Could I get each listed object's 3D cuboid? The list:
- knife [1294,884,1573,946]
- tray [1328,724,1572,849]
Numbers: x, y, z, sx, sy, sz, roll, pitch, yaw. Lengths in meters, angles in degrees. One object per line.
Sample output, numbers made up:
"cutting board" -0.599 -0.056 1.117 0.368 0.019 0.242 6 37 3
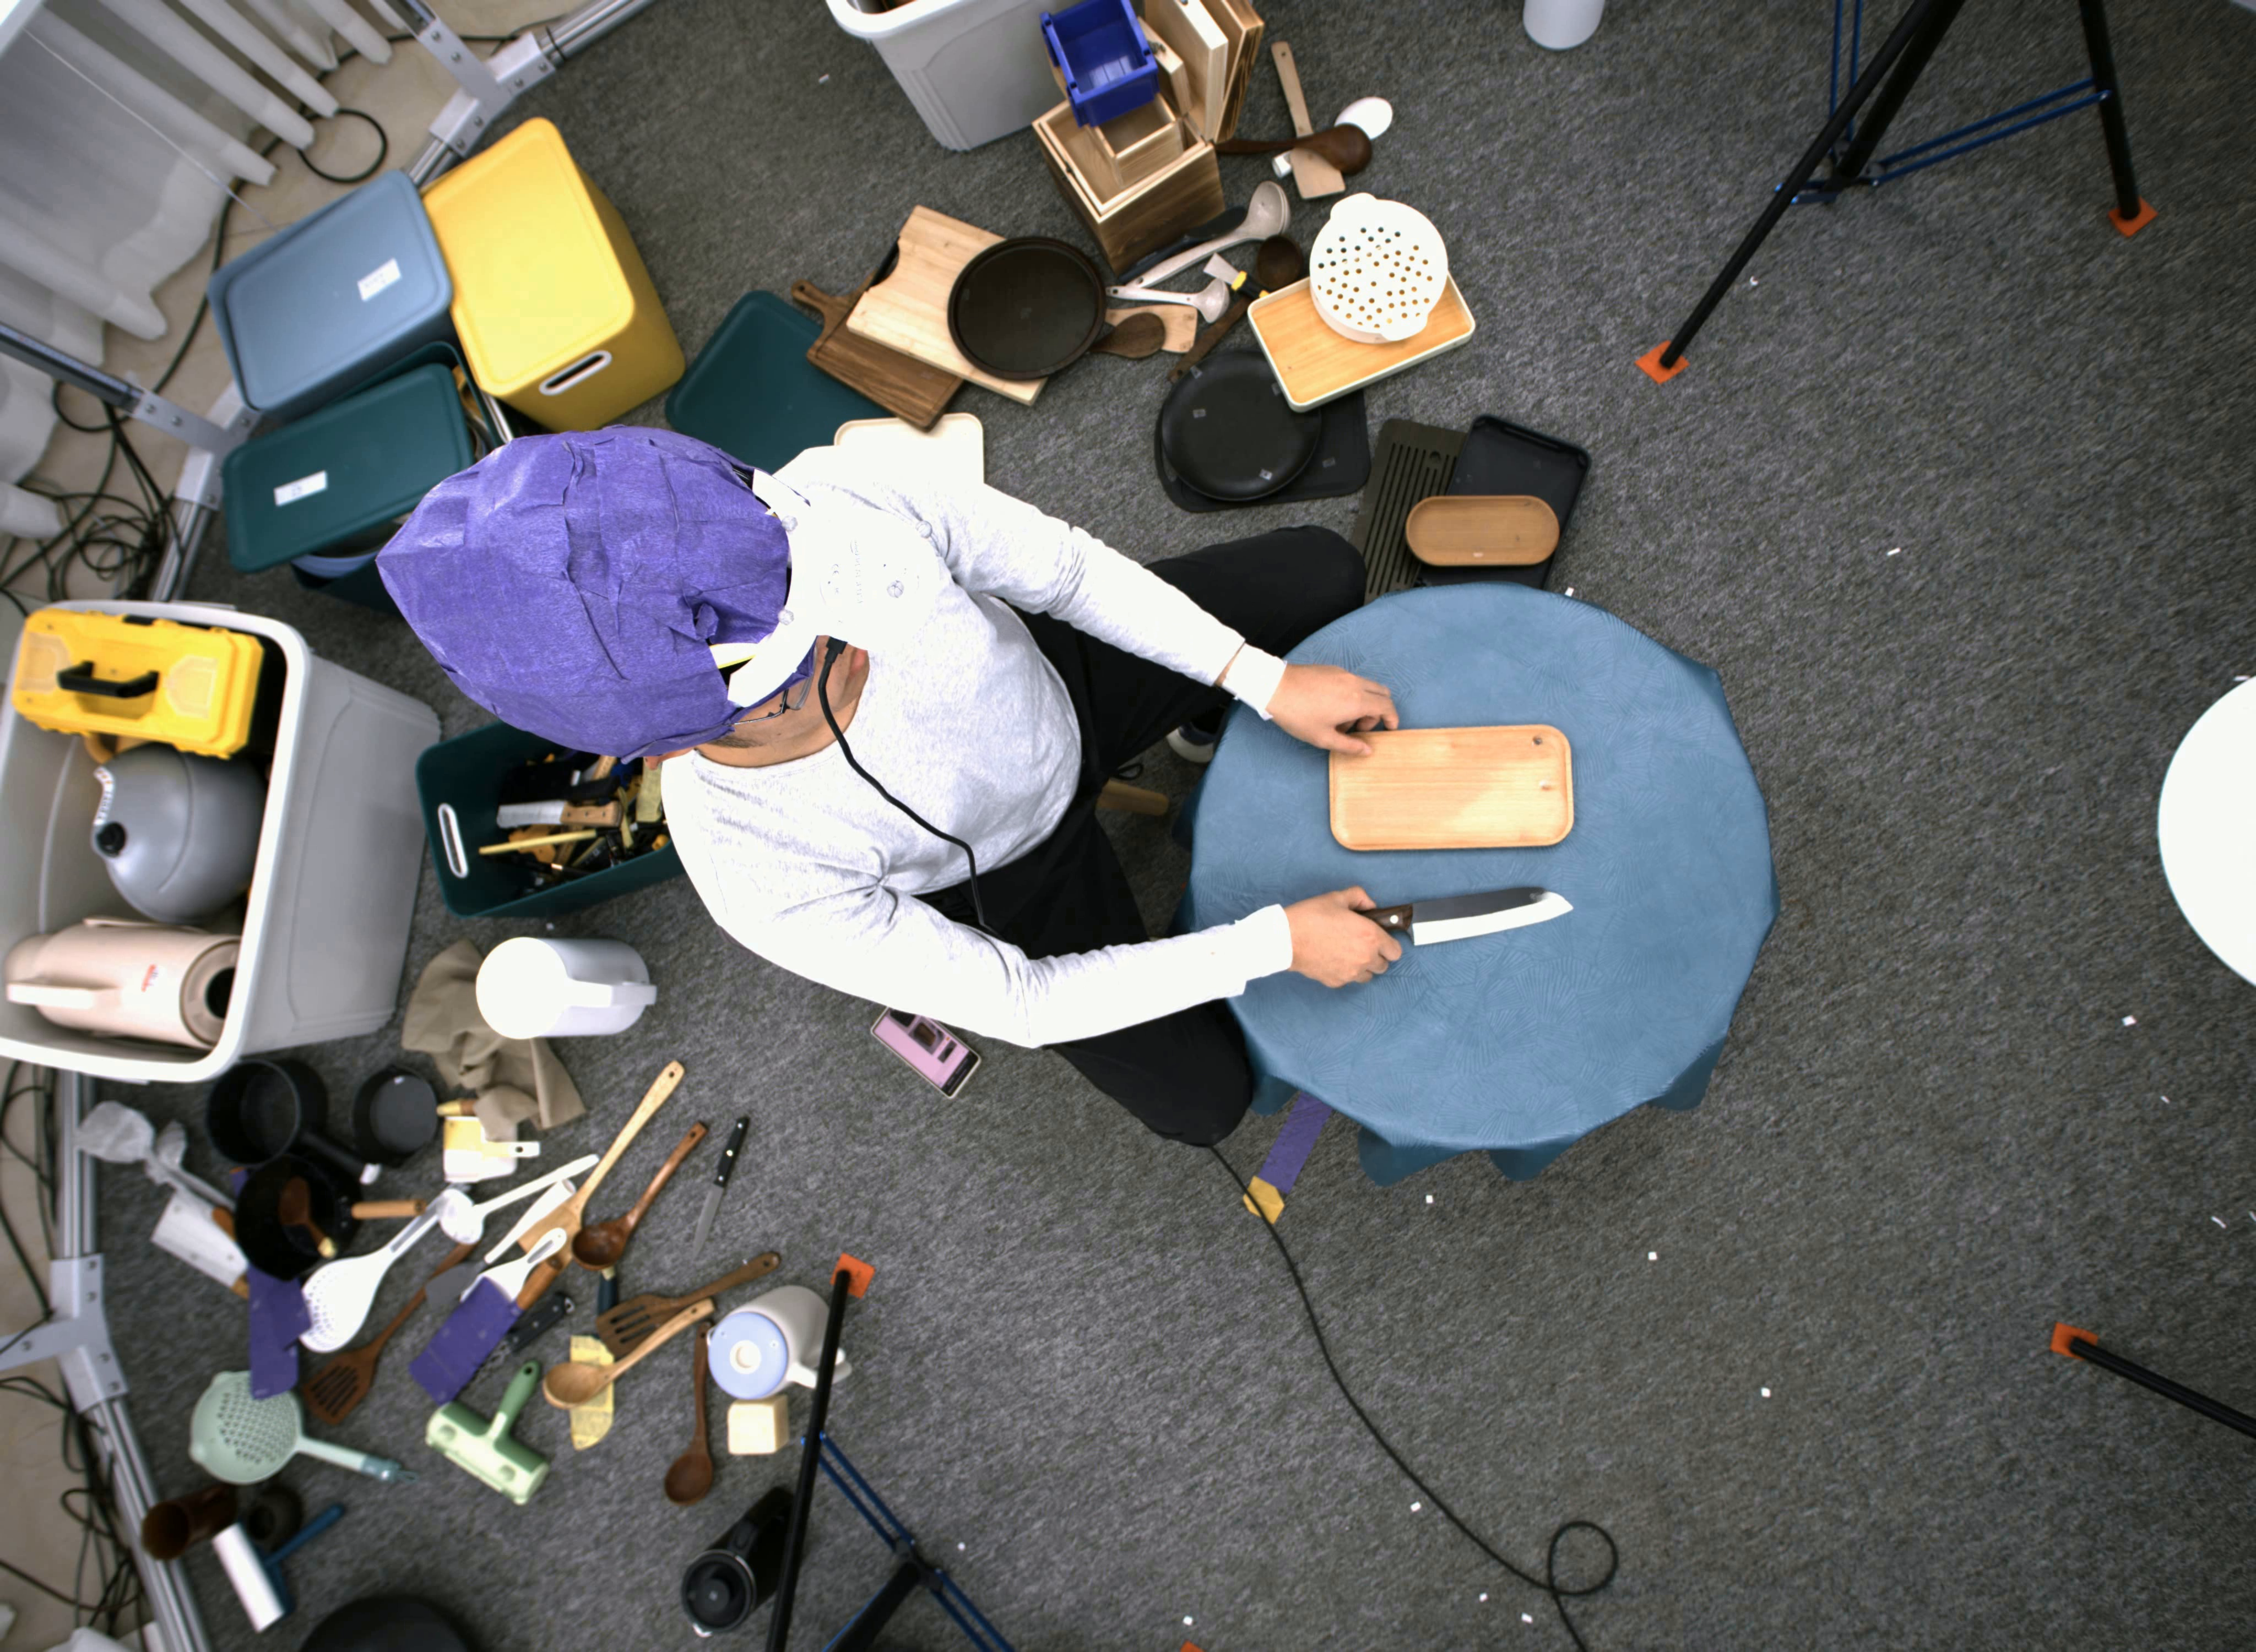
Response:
"knife" 0.318 0.095 1.440 0.290 0.020 0.050 -7 98 7
"tray" 0.337 -0.042 1.446 0.252 0.023 0.130 -1 84 11
